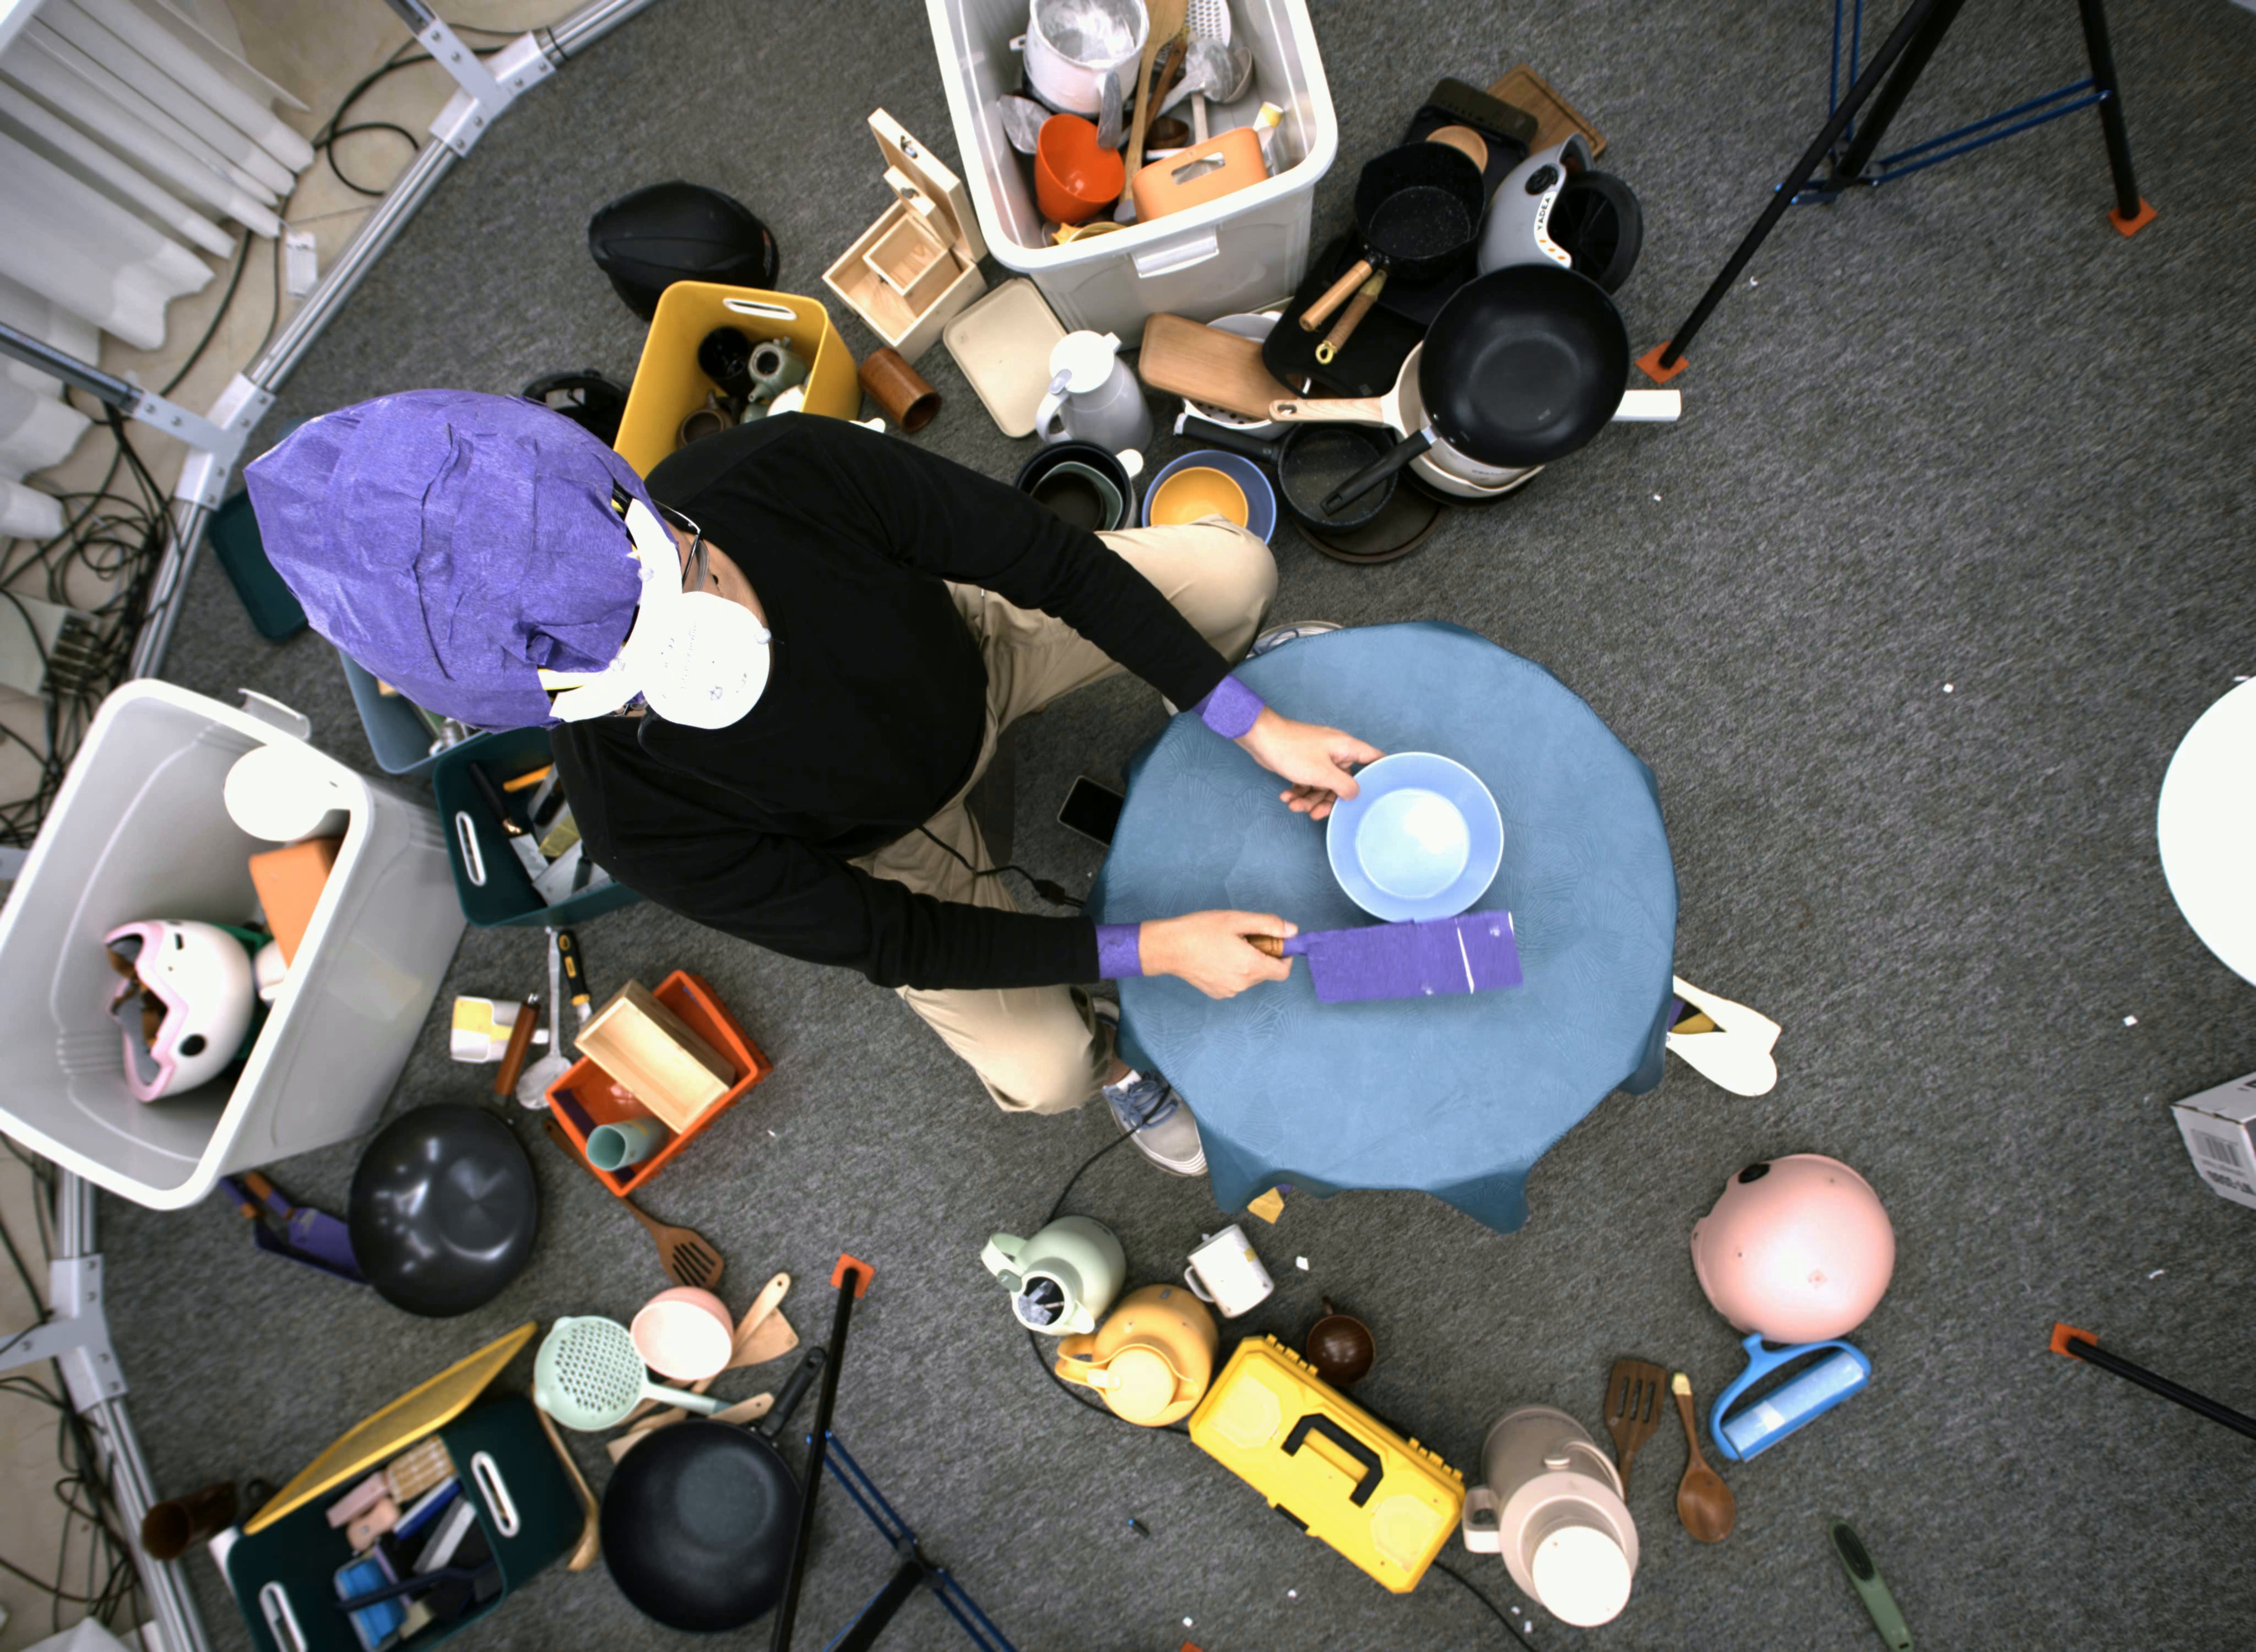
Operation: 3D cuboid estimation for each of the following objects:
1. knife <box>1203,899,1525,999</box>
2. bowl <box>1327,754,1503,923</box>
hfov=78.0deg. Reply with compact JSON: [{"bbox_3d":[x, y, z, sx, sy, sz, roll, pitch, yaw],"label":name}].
[{"bbox_3d":[0.234,0.134,1.389,0.318,0.031,0.106,-9,122,23],"label":"knife"},{"bbox_3d":[0.295,0.016,1.423,0.177,0.070,0.175,-1,86,11],"label":"bowl"}]
